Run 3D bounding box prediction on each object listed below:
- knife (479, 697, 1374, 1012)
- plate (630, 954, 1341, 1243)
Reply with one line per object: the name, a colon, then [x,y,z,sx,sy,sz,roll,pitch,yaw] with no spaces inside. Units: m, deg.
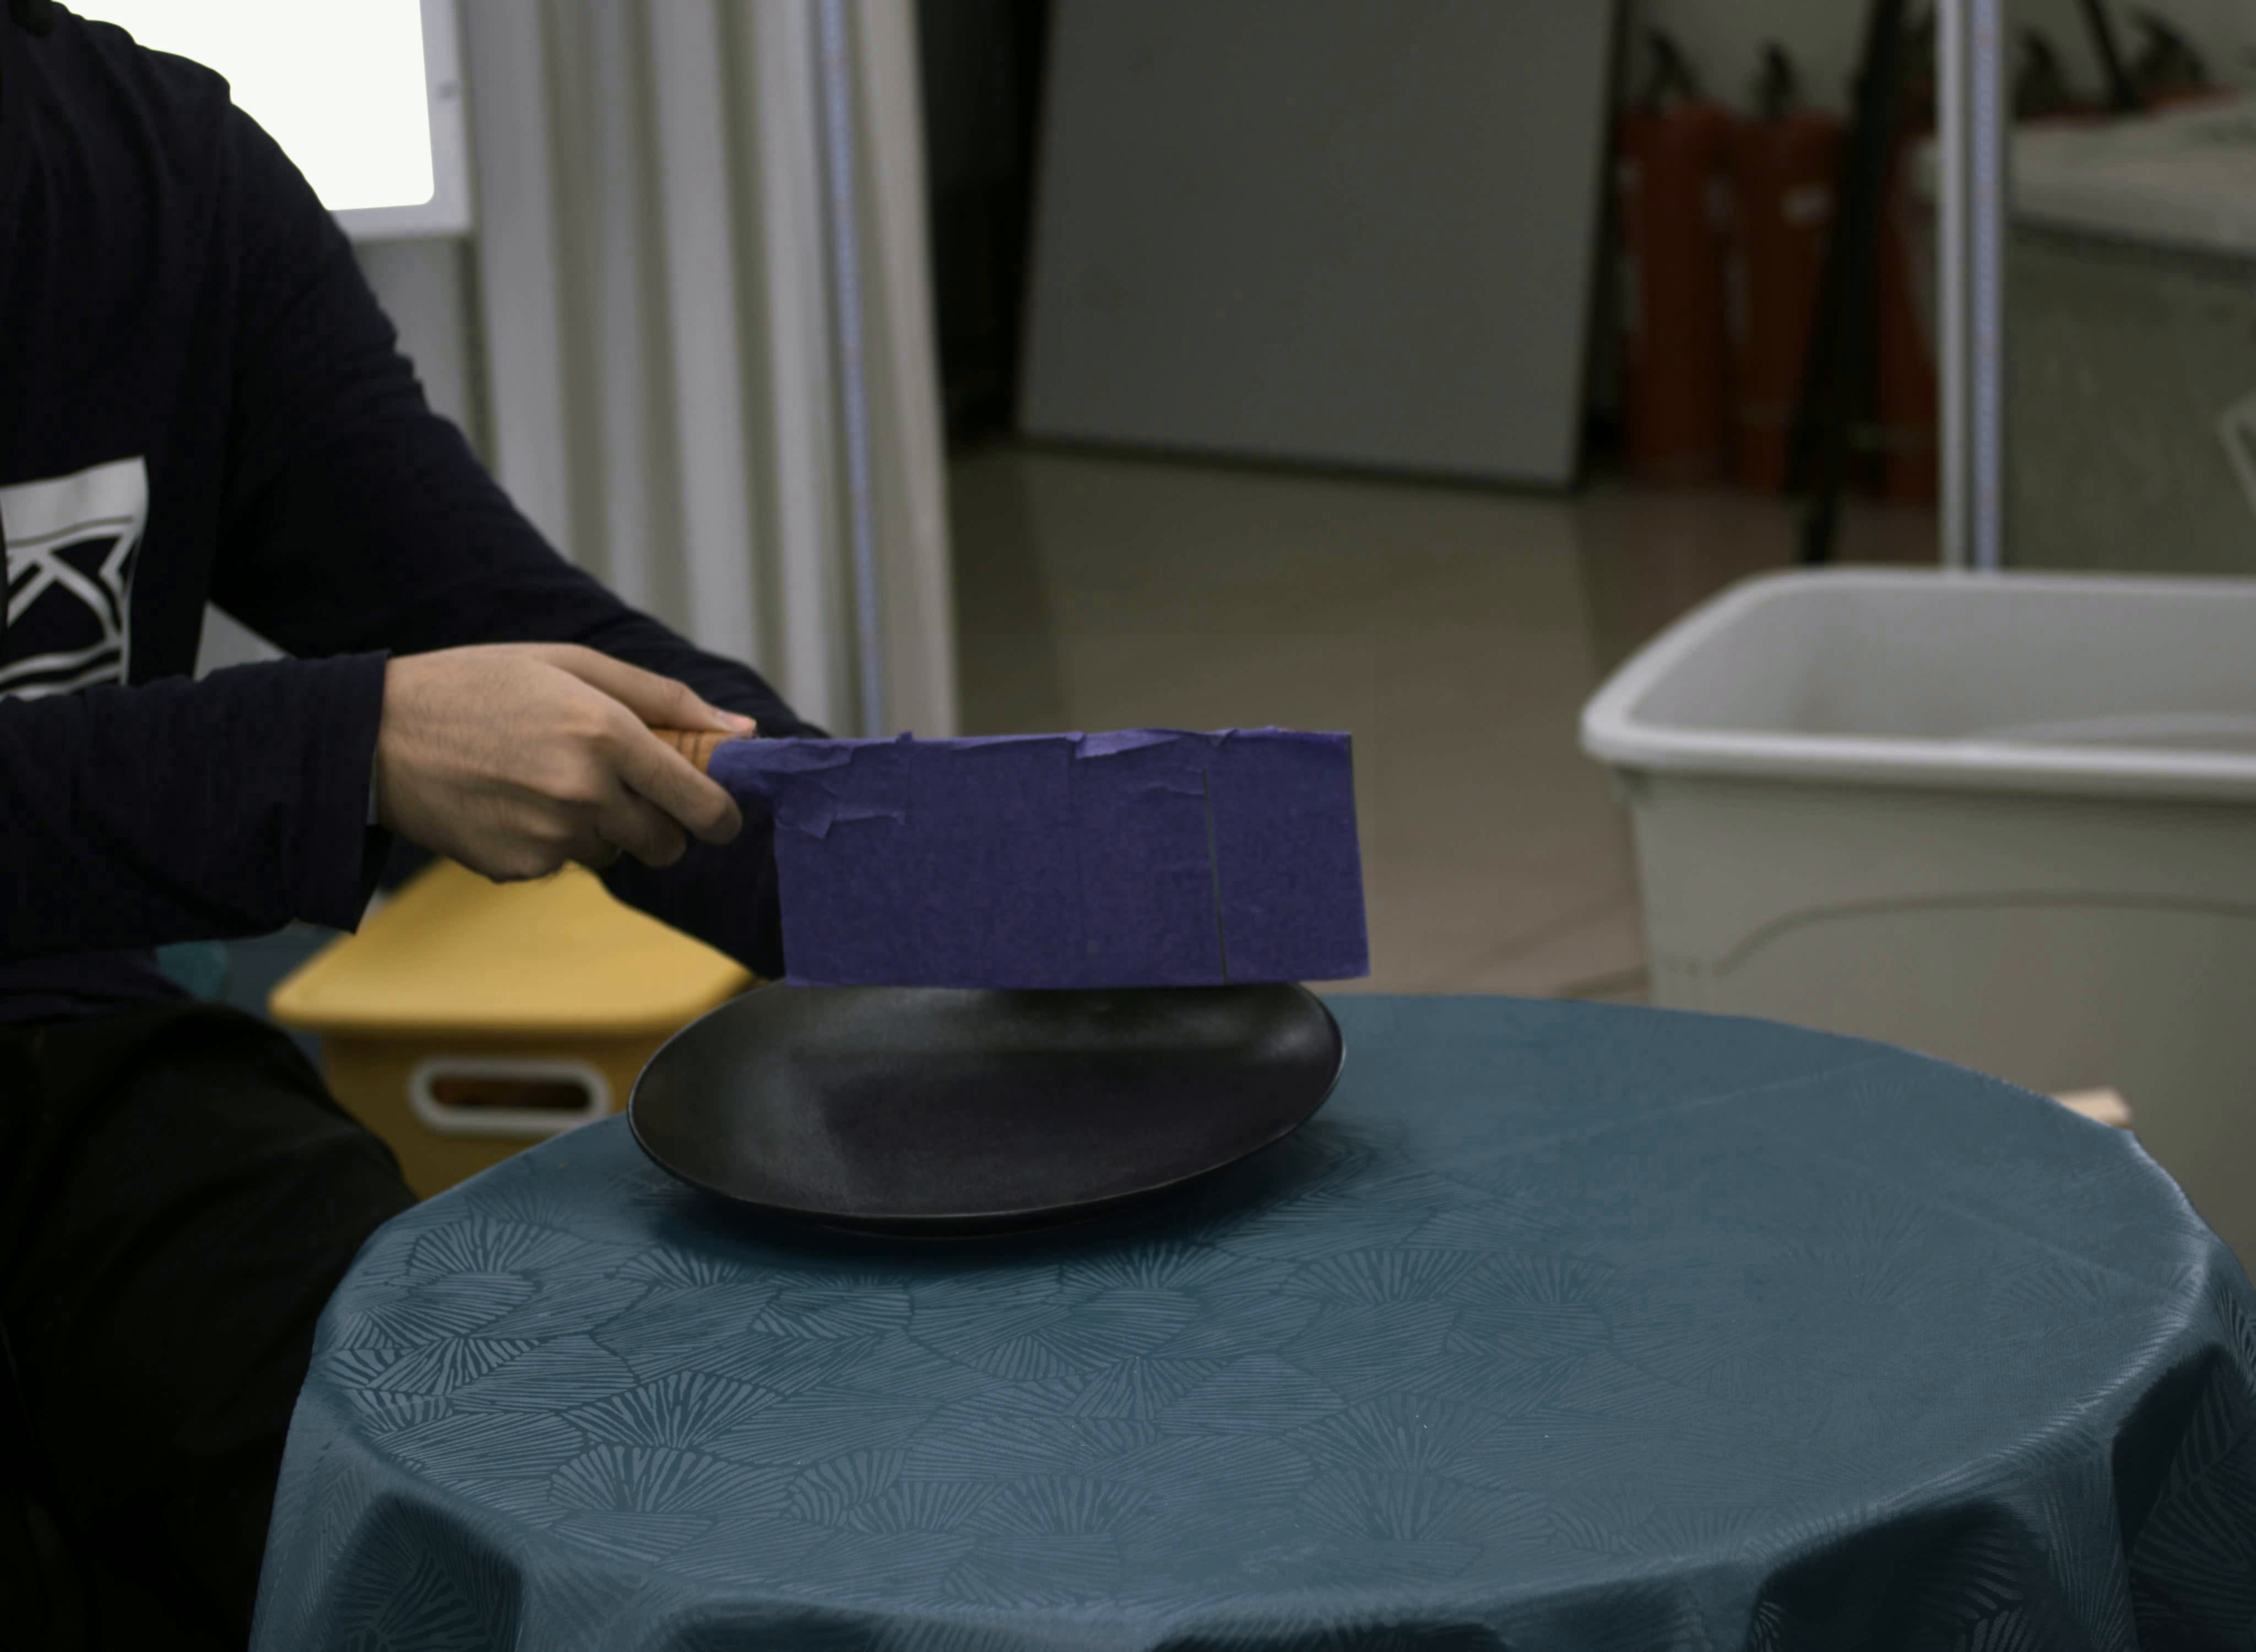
knife: [-0.071,0.013,1.861,0.314,0.105,0.032,-2,12,16]
plate: [-0.047,0.090,1.818,0.241,0.023,0.245,-7,21,2]
